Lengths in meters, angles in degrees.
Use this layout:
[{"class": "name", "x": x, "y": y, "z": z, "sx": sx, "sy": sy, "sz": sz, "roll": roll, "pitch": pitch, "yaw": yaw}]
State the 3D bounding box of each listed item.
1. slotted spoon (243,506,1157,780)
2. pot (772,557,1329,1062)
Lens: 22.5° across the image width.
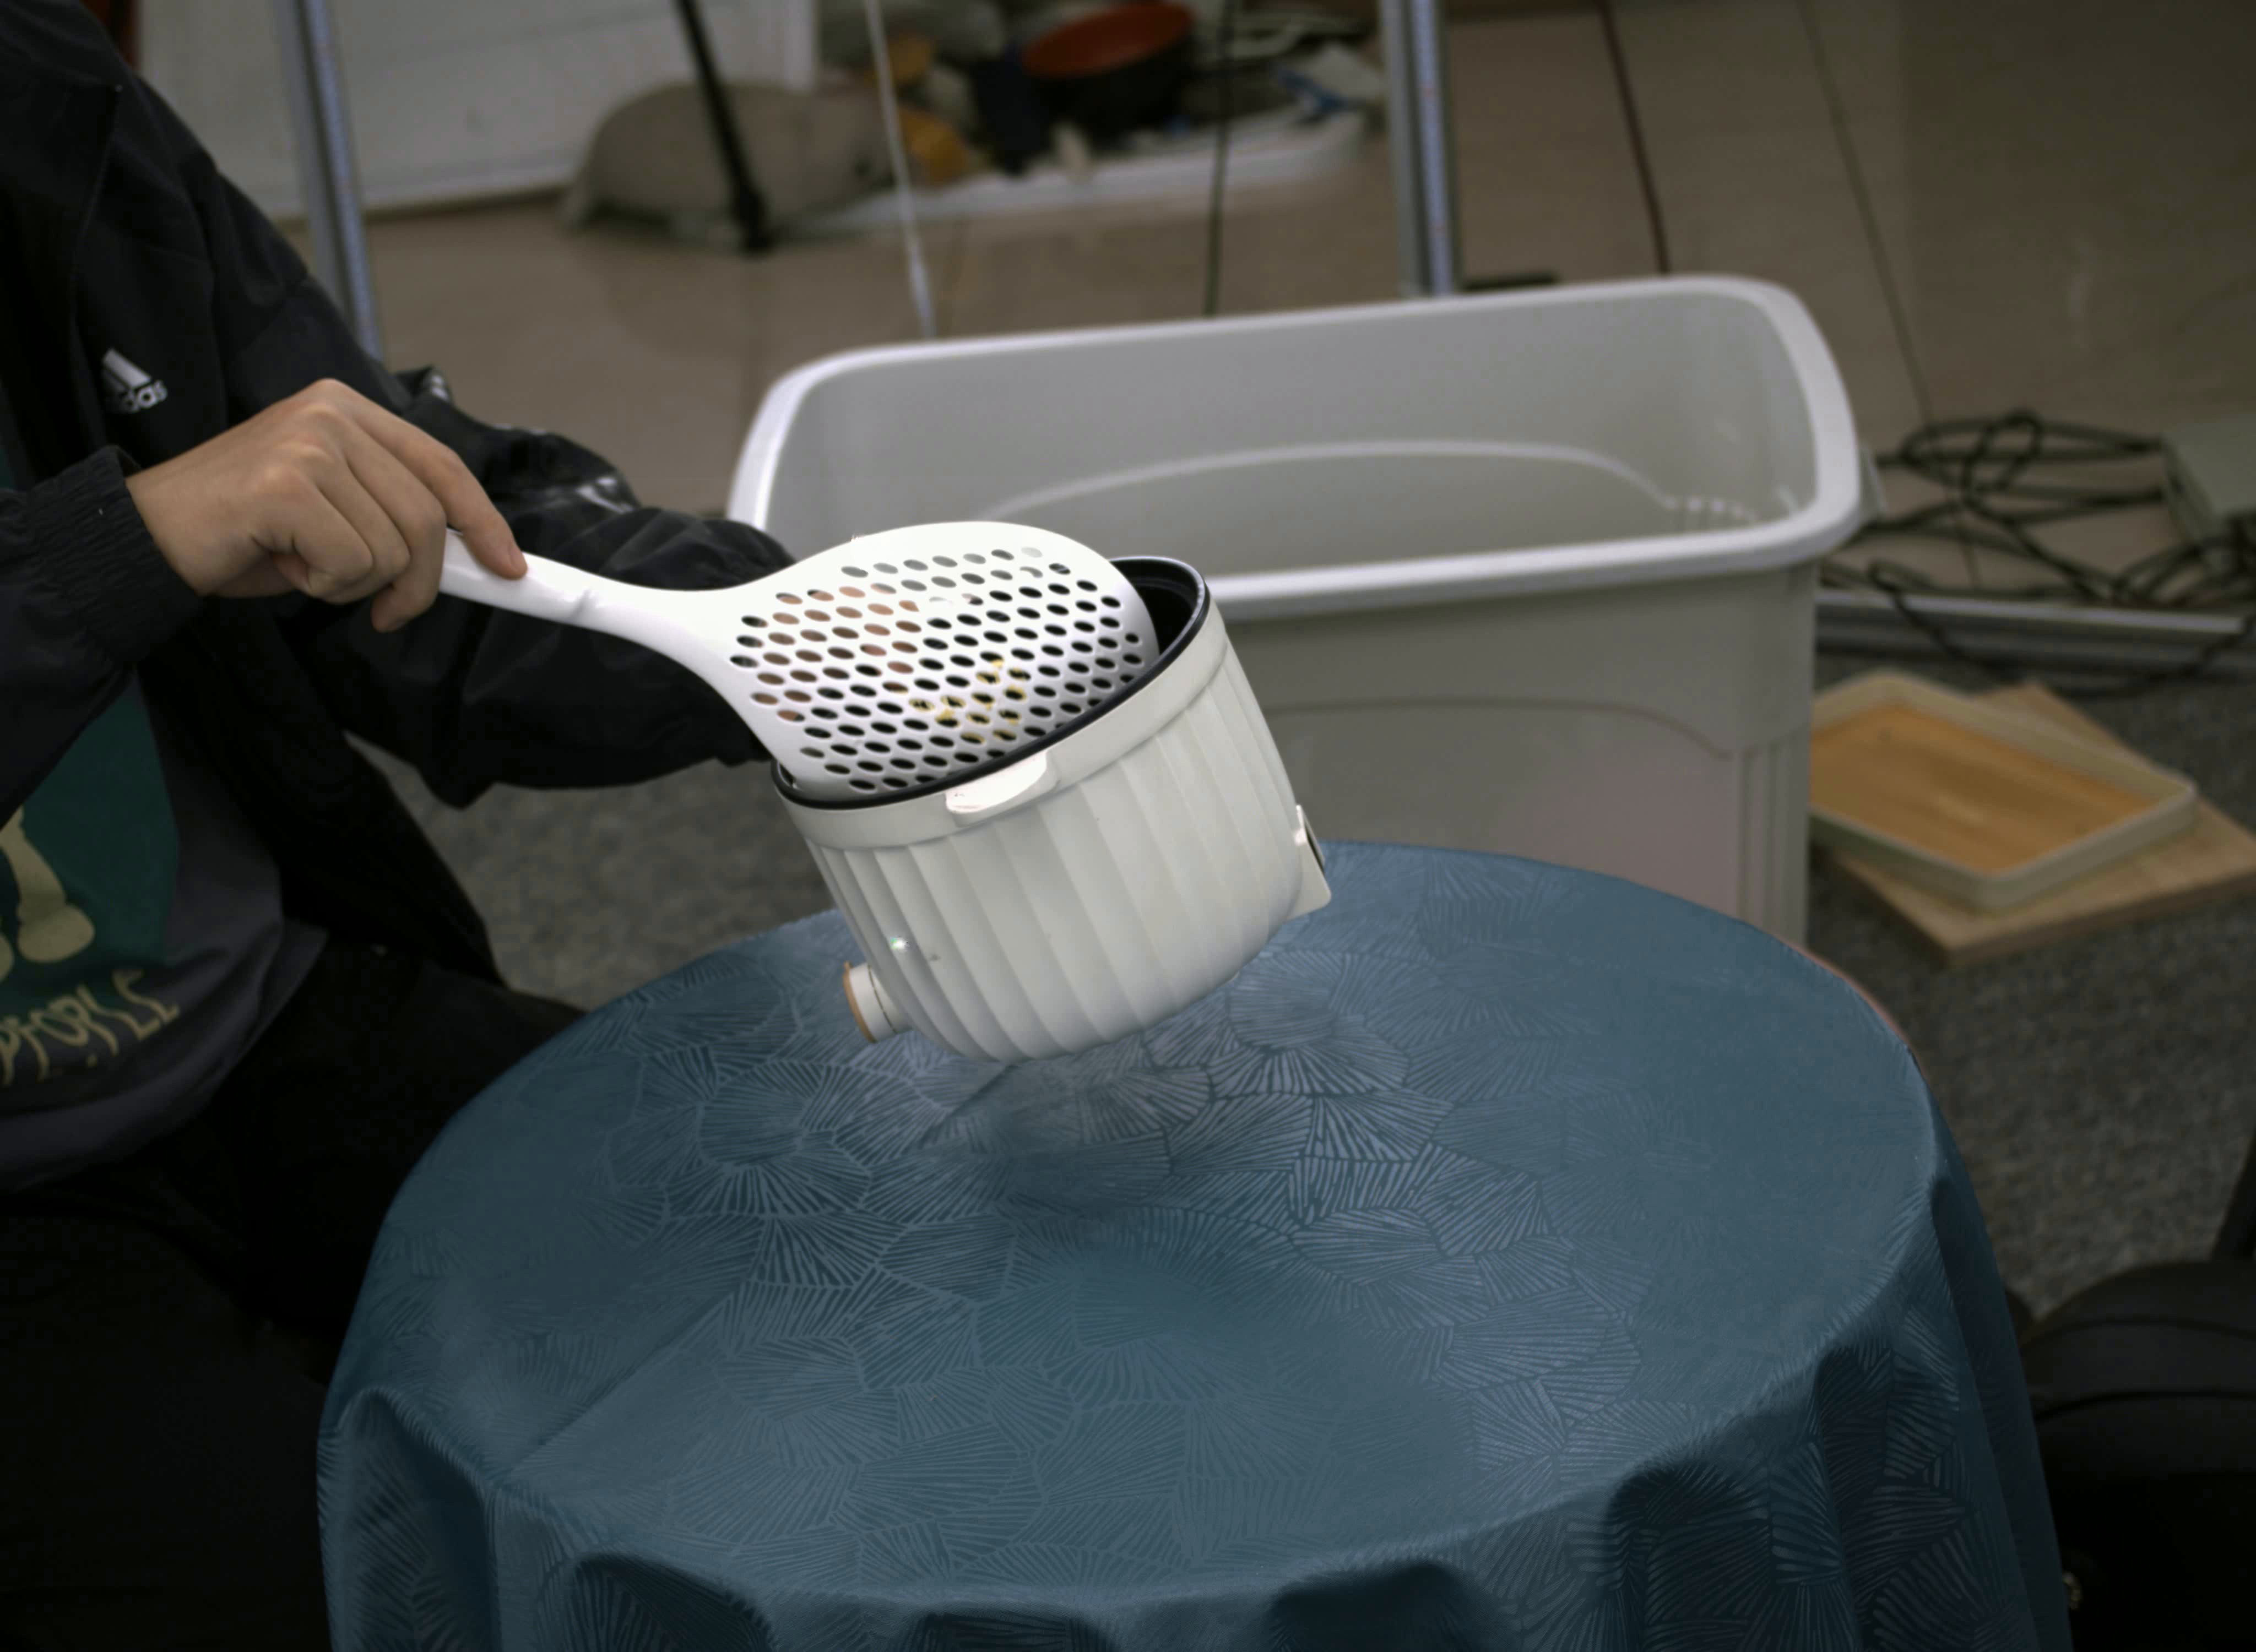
[{"class": "slotted spoon", "x": -0.157, "y": -0.070, "z": 2.113, "sx": 0.348, "sy": 0.137, "sz": 0.050, "roll": 10, "pitch": 7, "yaw": -8}, {"class": "pot", "x": -0.033, "y": 0.002, "z": 2.164, "sx": 0.190, "sy": 0.144, "sz": 0.237, "roll": -19, "pitch": 21, "yaw": 5}]
